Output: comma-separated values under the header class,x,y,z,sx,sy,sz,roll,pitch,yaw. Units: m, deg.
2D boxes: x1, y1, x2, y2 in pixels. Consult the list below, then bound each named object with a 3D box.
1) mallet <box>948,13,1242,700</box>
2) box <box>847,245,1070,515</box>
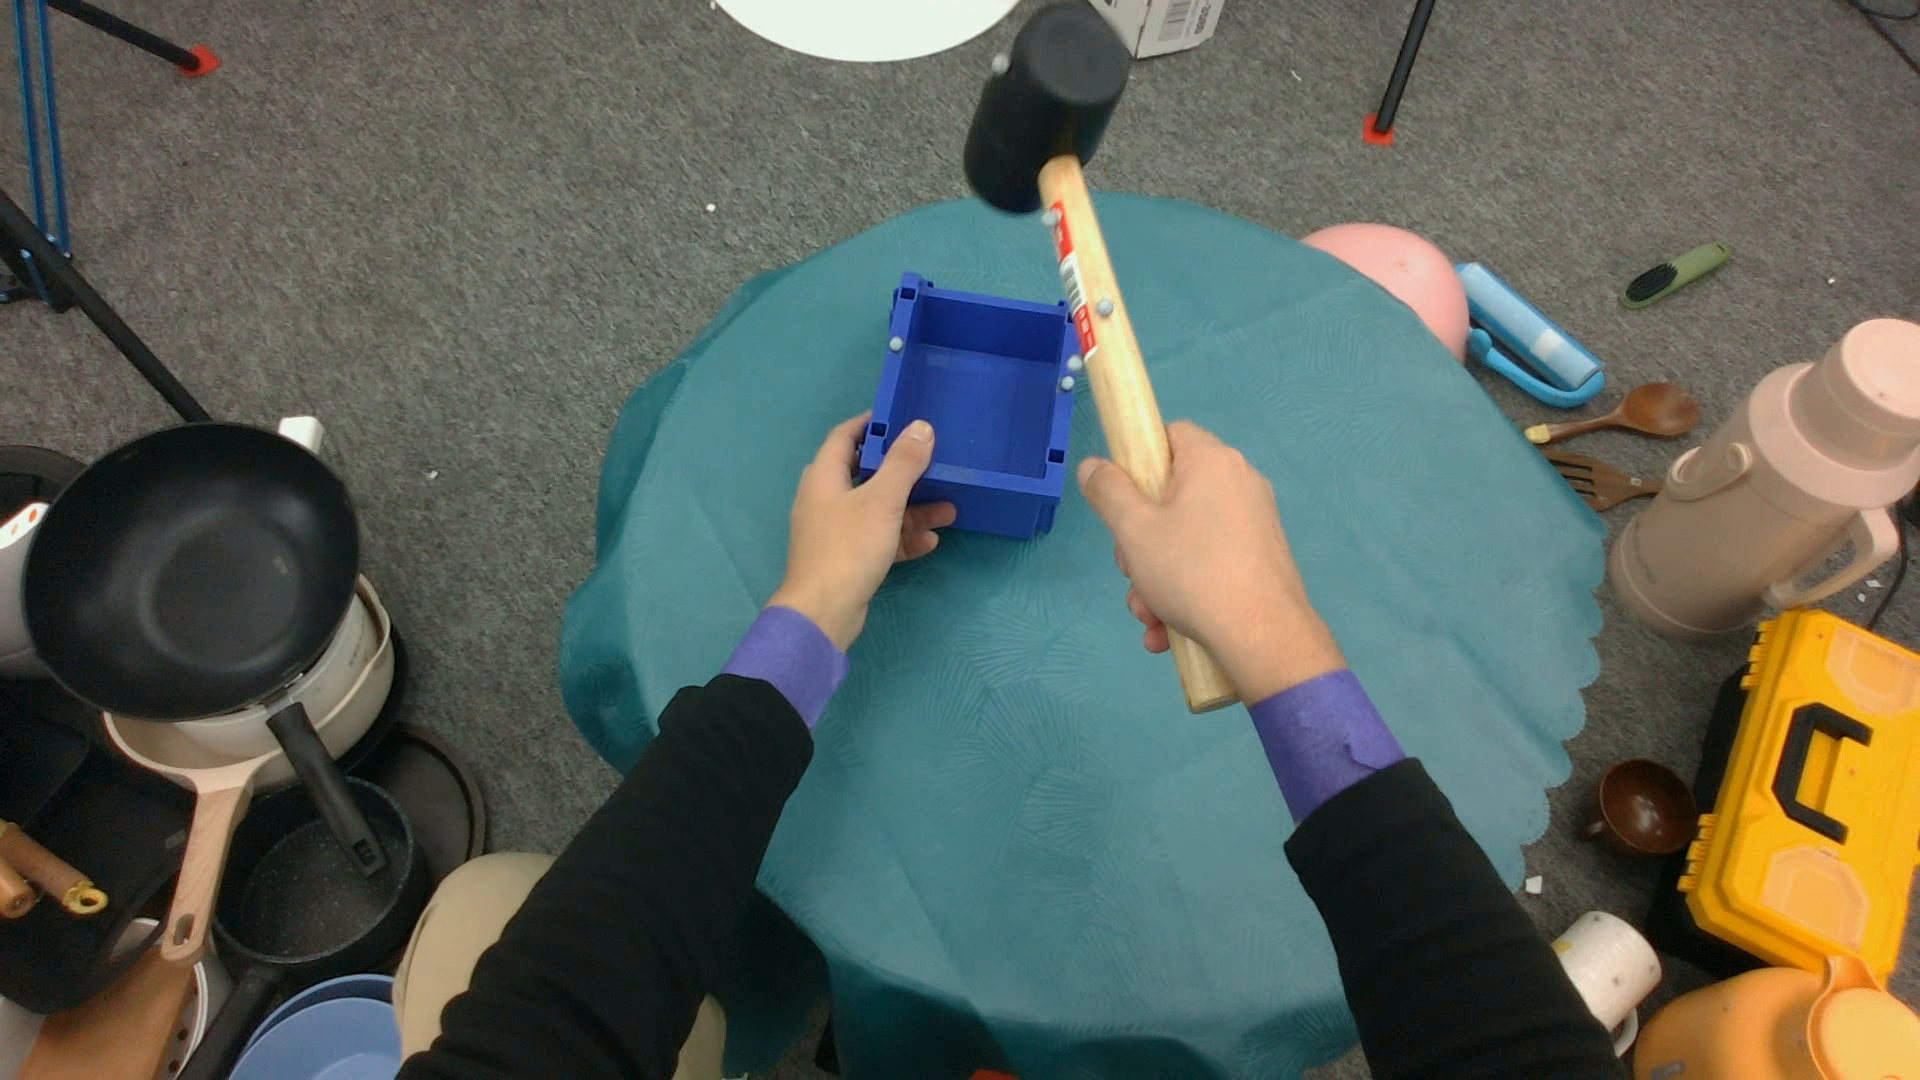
class,x,y,z,sx,sy,sz,roll,pitch,yaw
mallet,0.063,-0.088,0.667,0.064,0.101,0.339,-8,73,-18
box,0.003,-0.109,0.881,0.124,0.081,0.180,9,65,2
